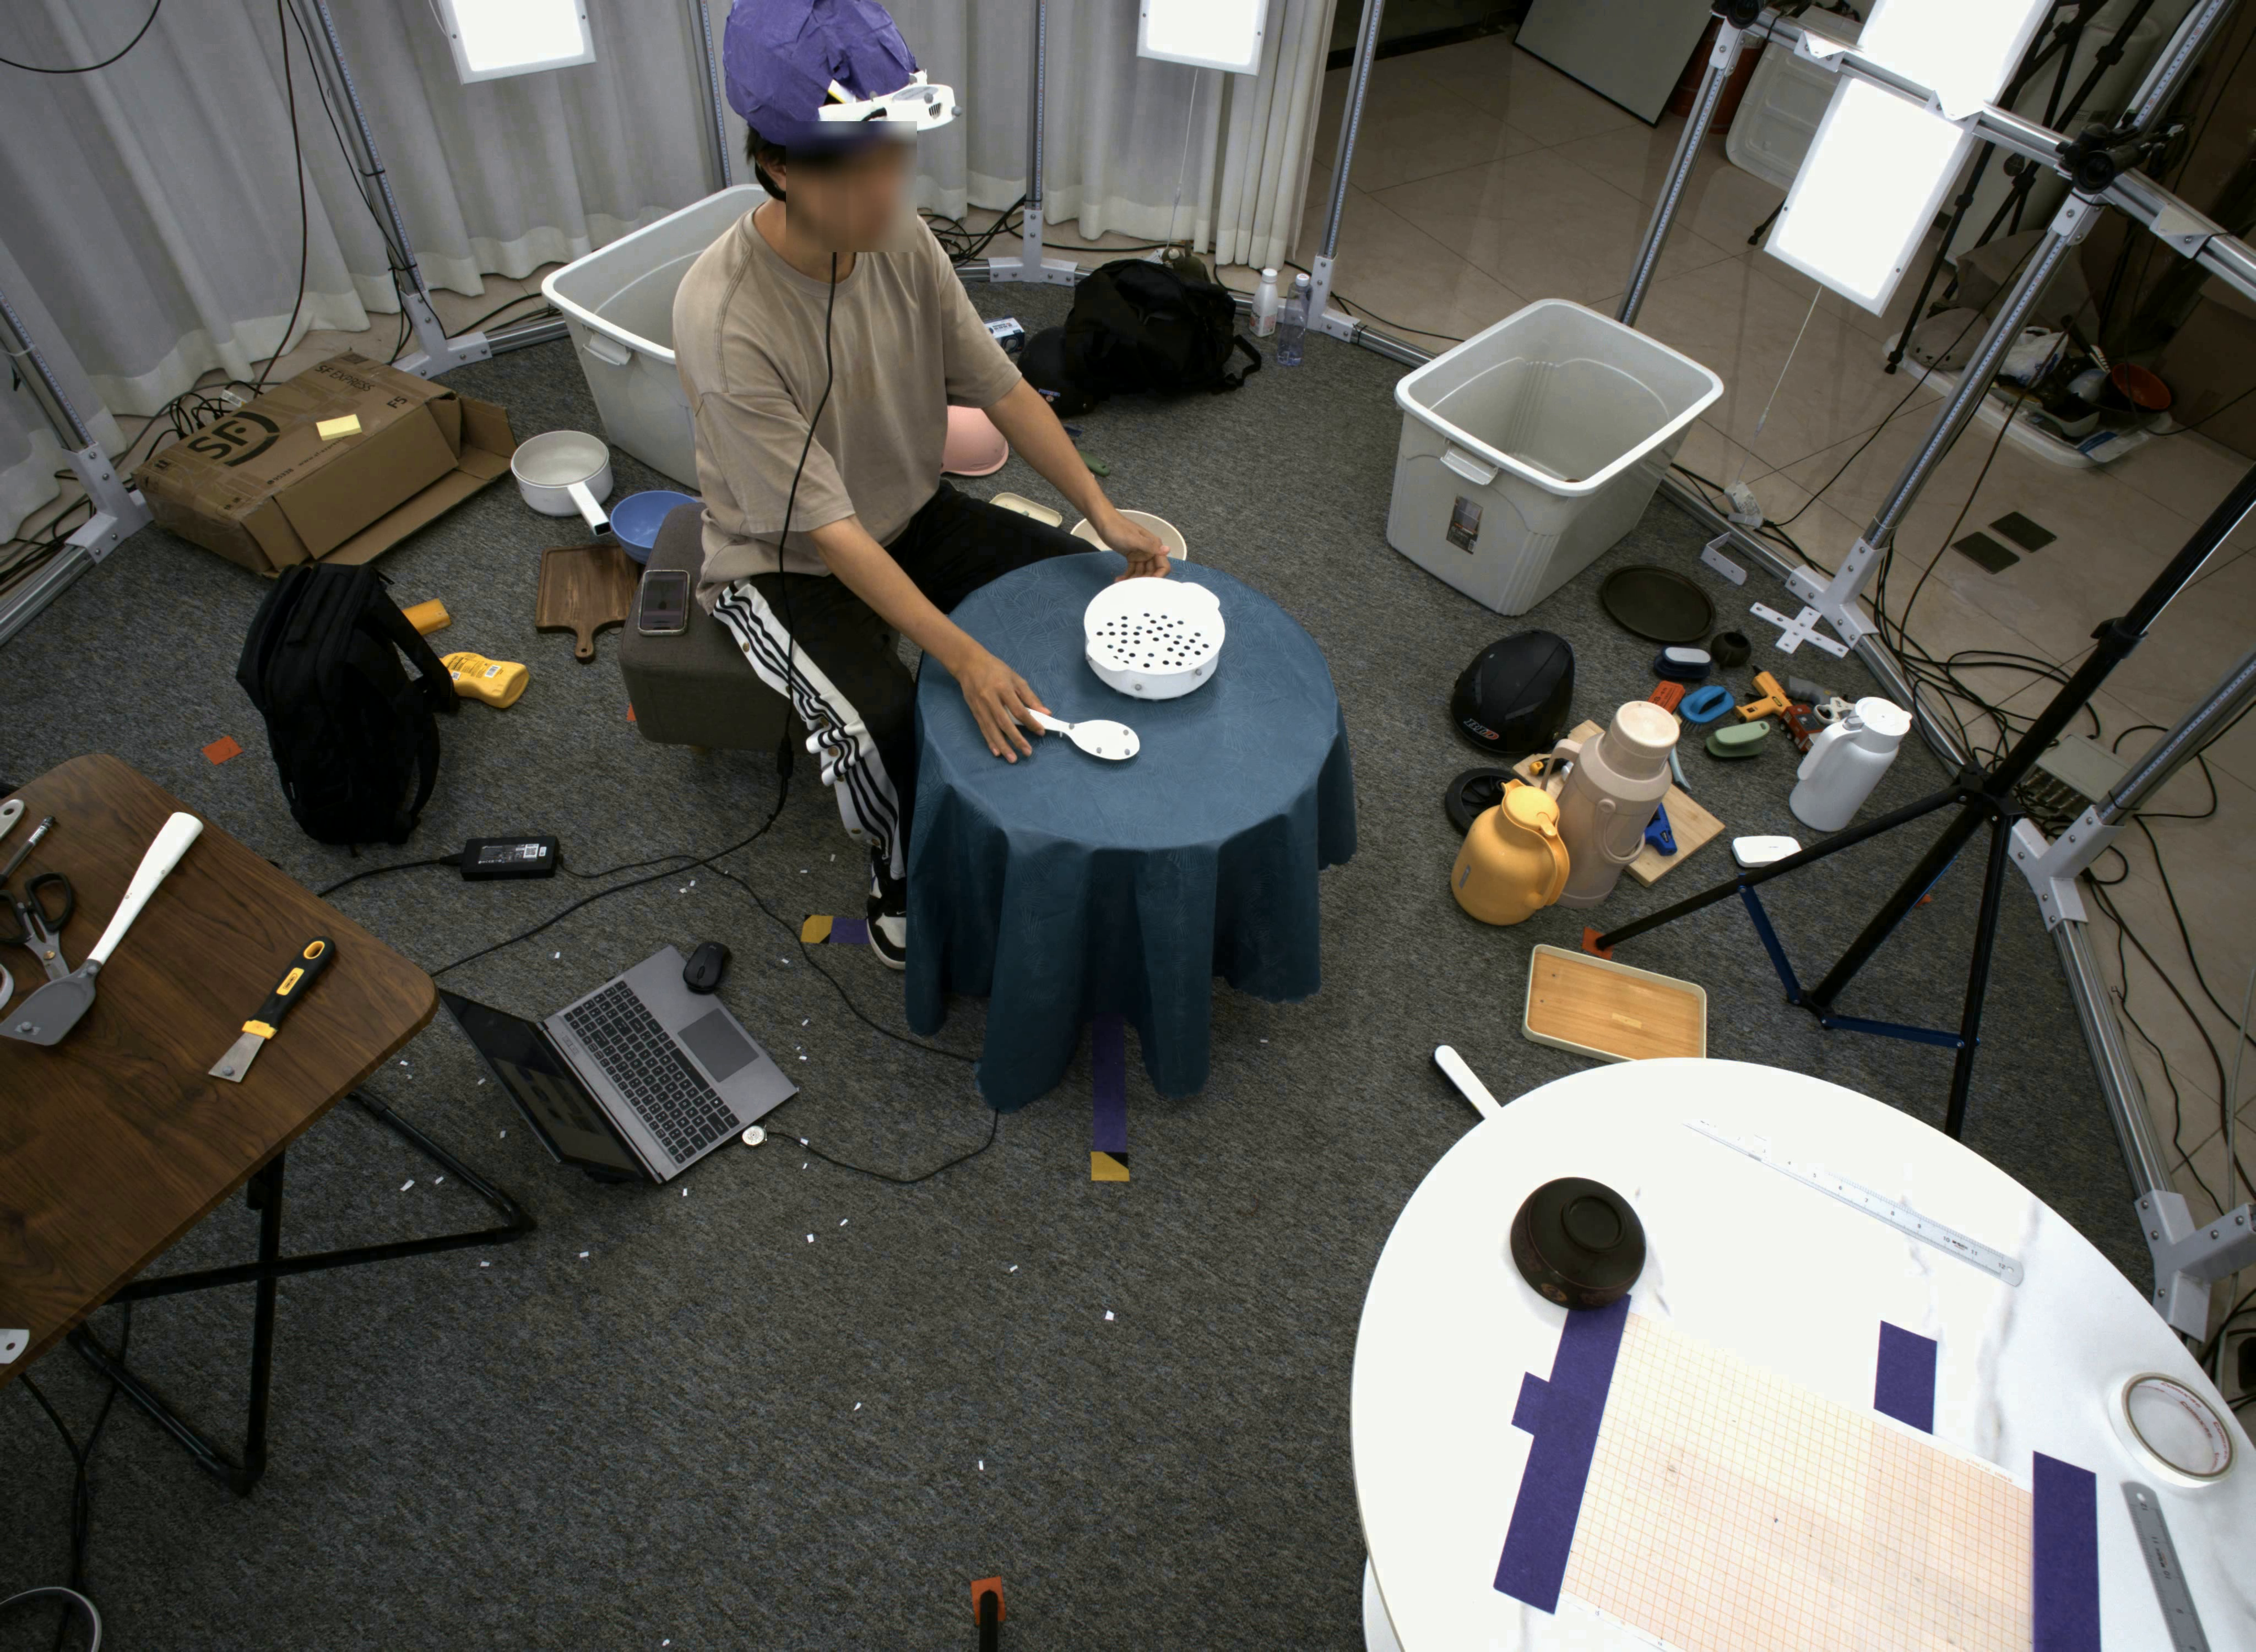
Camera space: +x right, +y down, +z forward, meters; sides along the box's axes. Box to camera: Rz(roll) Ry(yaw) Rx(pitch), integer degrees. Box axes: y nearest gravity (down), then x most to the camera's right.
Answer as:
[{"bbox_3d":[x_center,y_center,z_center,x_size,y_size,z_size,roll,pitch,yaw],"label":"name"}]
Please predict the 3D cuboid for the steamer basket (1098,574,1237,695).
[{"bbox_3d":[0.054,-0.275,1.856,0.205,0.067,0.233,38,54,24],"label":"steamer basket"}]

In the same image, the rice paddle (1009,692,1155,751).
[{"bbox_3d":[-0.061,-0.146,1.753,0.206,0.029,0.070,15,50,8],"label":"rice paddle"}]
